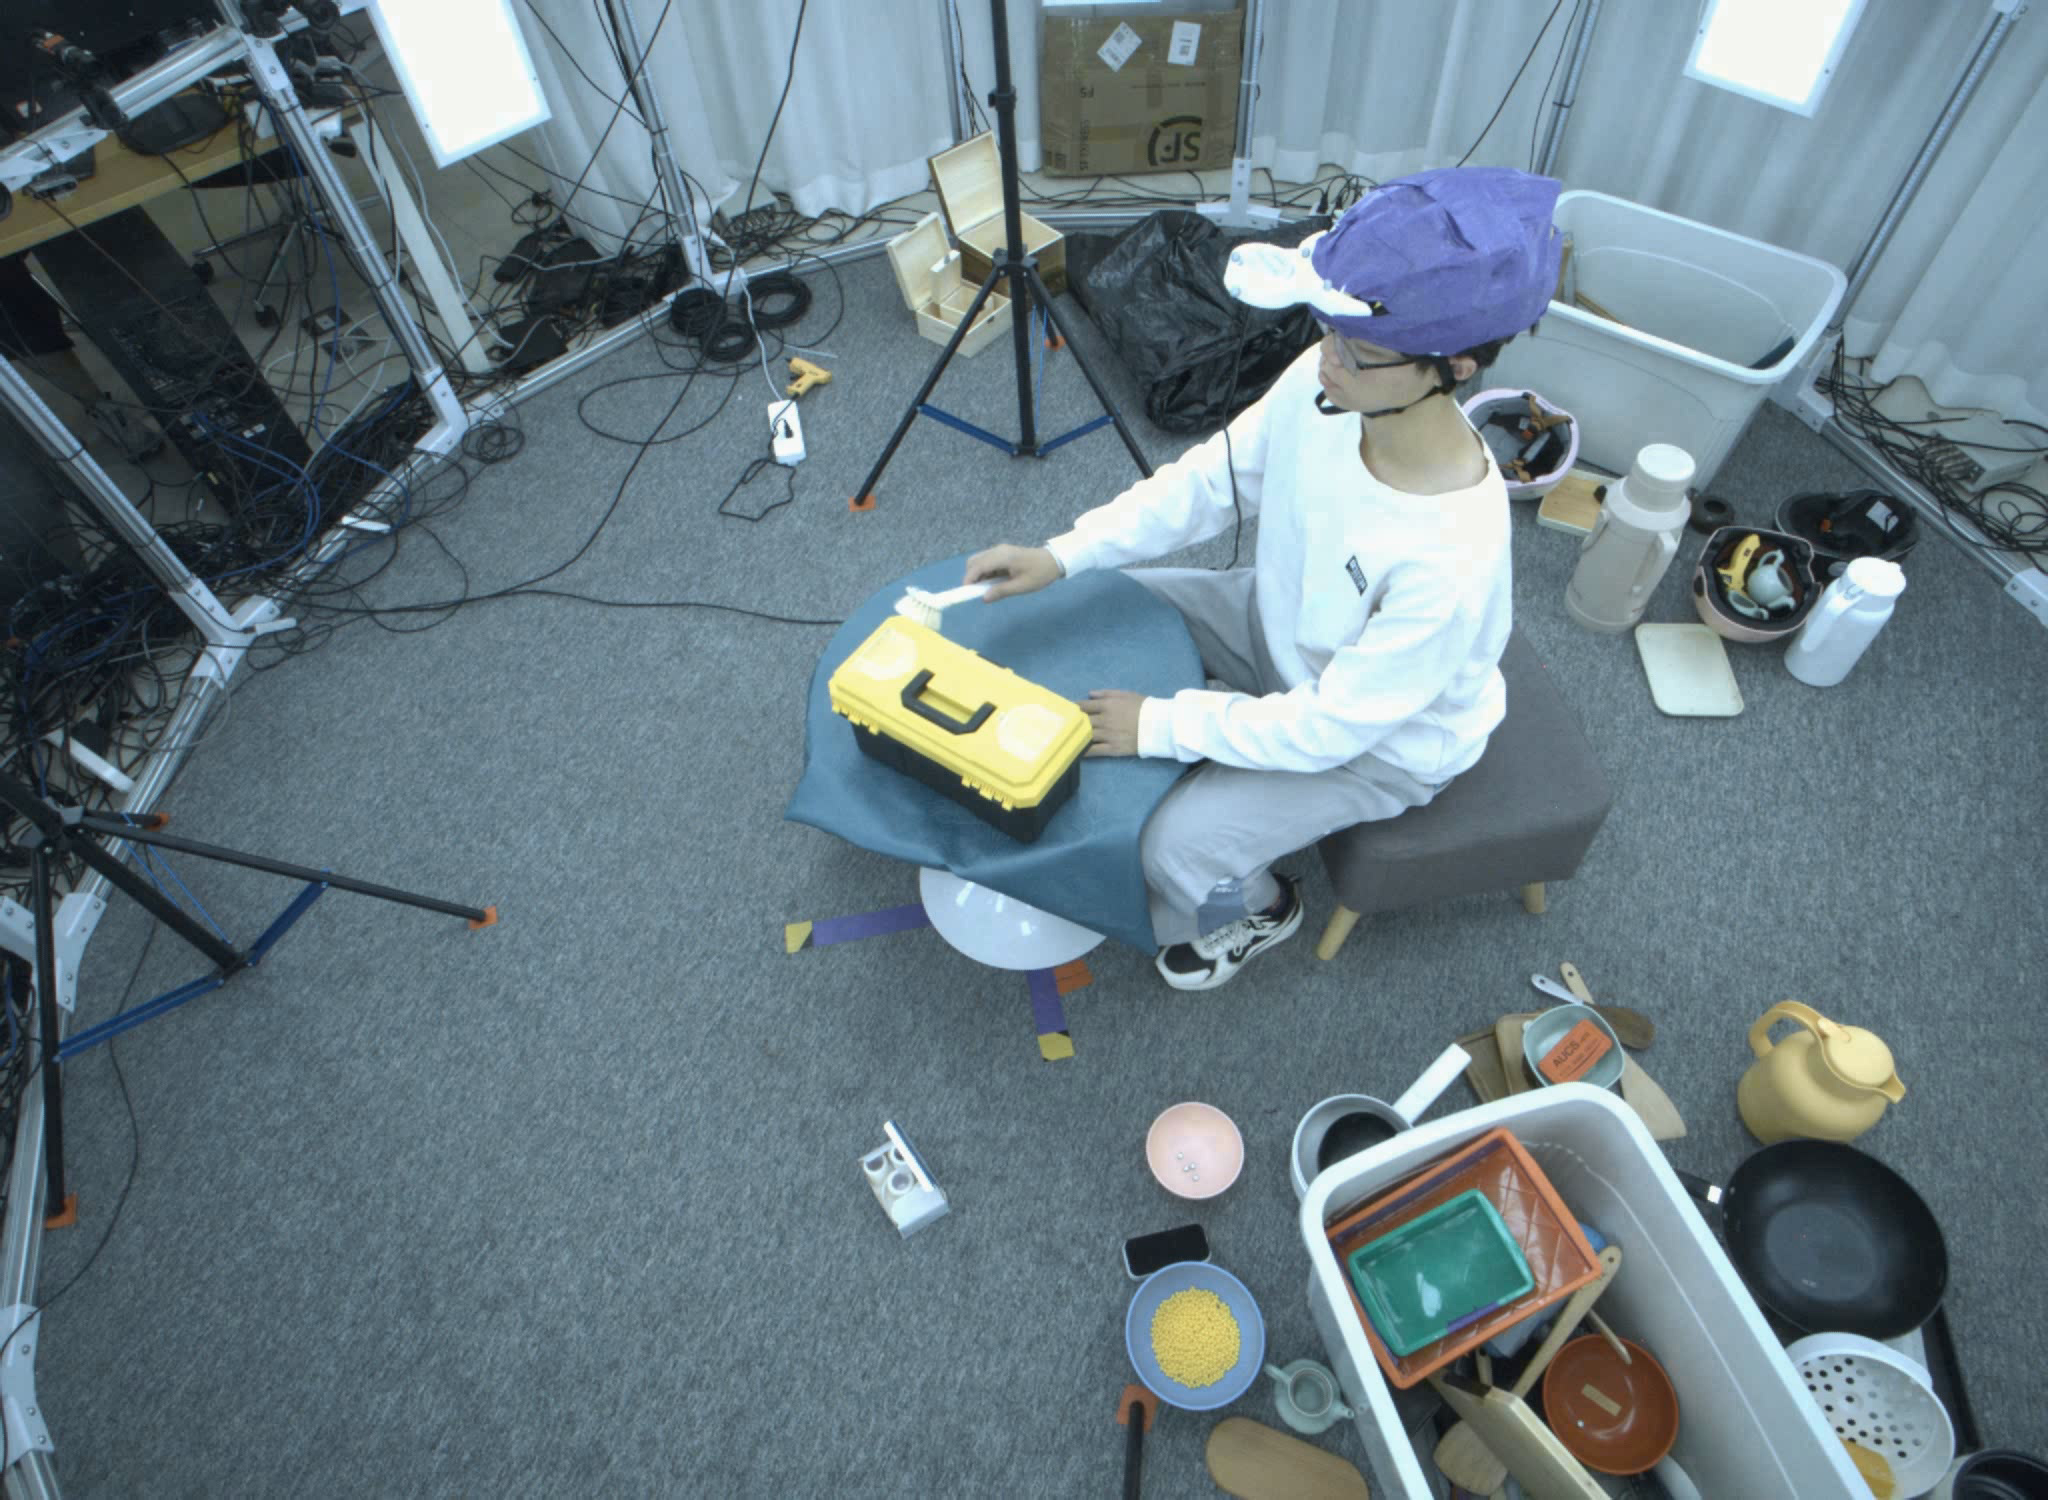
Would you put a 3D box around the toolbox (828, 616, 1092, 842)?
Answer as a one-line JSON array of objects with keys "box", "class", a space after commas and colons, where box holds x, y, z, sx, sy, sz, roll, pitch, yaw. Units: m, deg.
[{"box": [-0.086, -0.030, 1.701, 0.346, 0.174, 0.182, 29, 62, 20], "class": "toolbox"}]

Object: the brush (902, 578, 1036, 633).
[{"box": [-0.076, -0.219, 1.808, 0.067, 0.056, 0.271, 46, 33, 20], "class": "brush"}]
